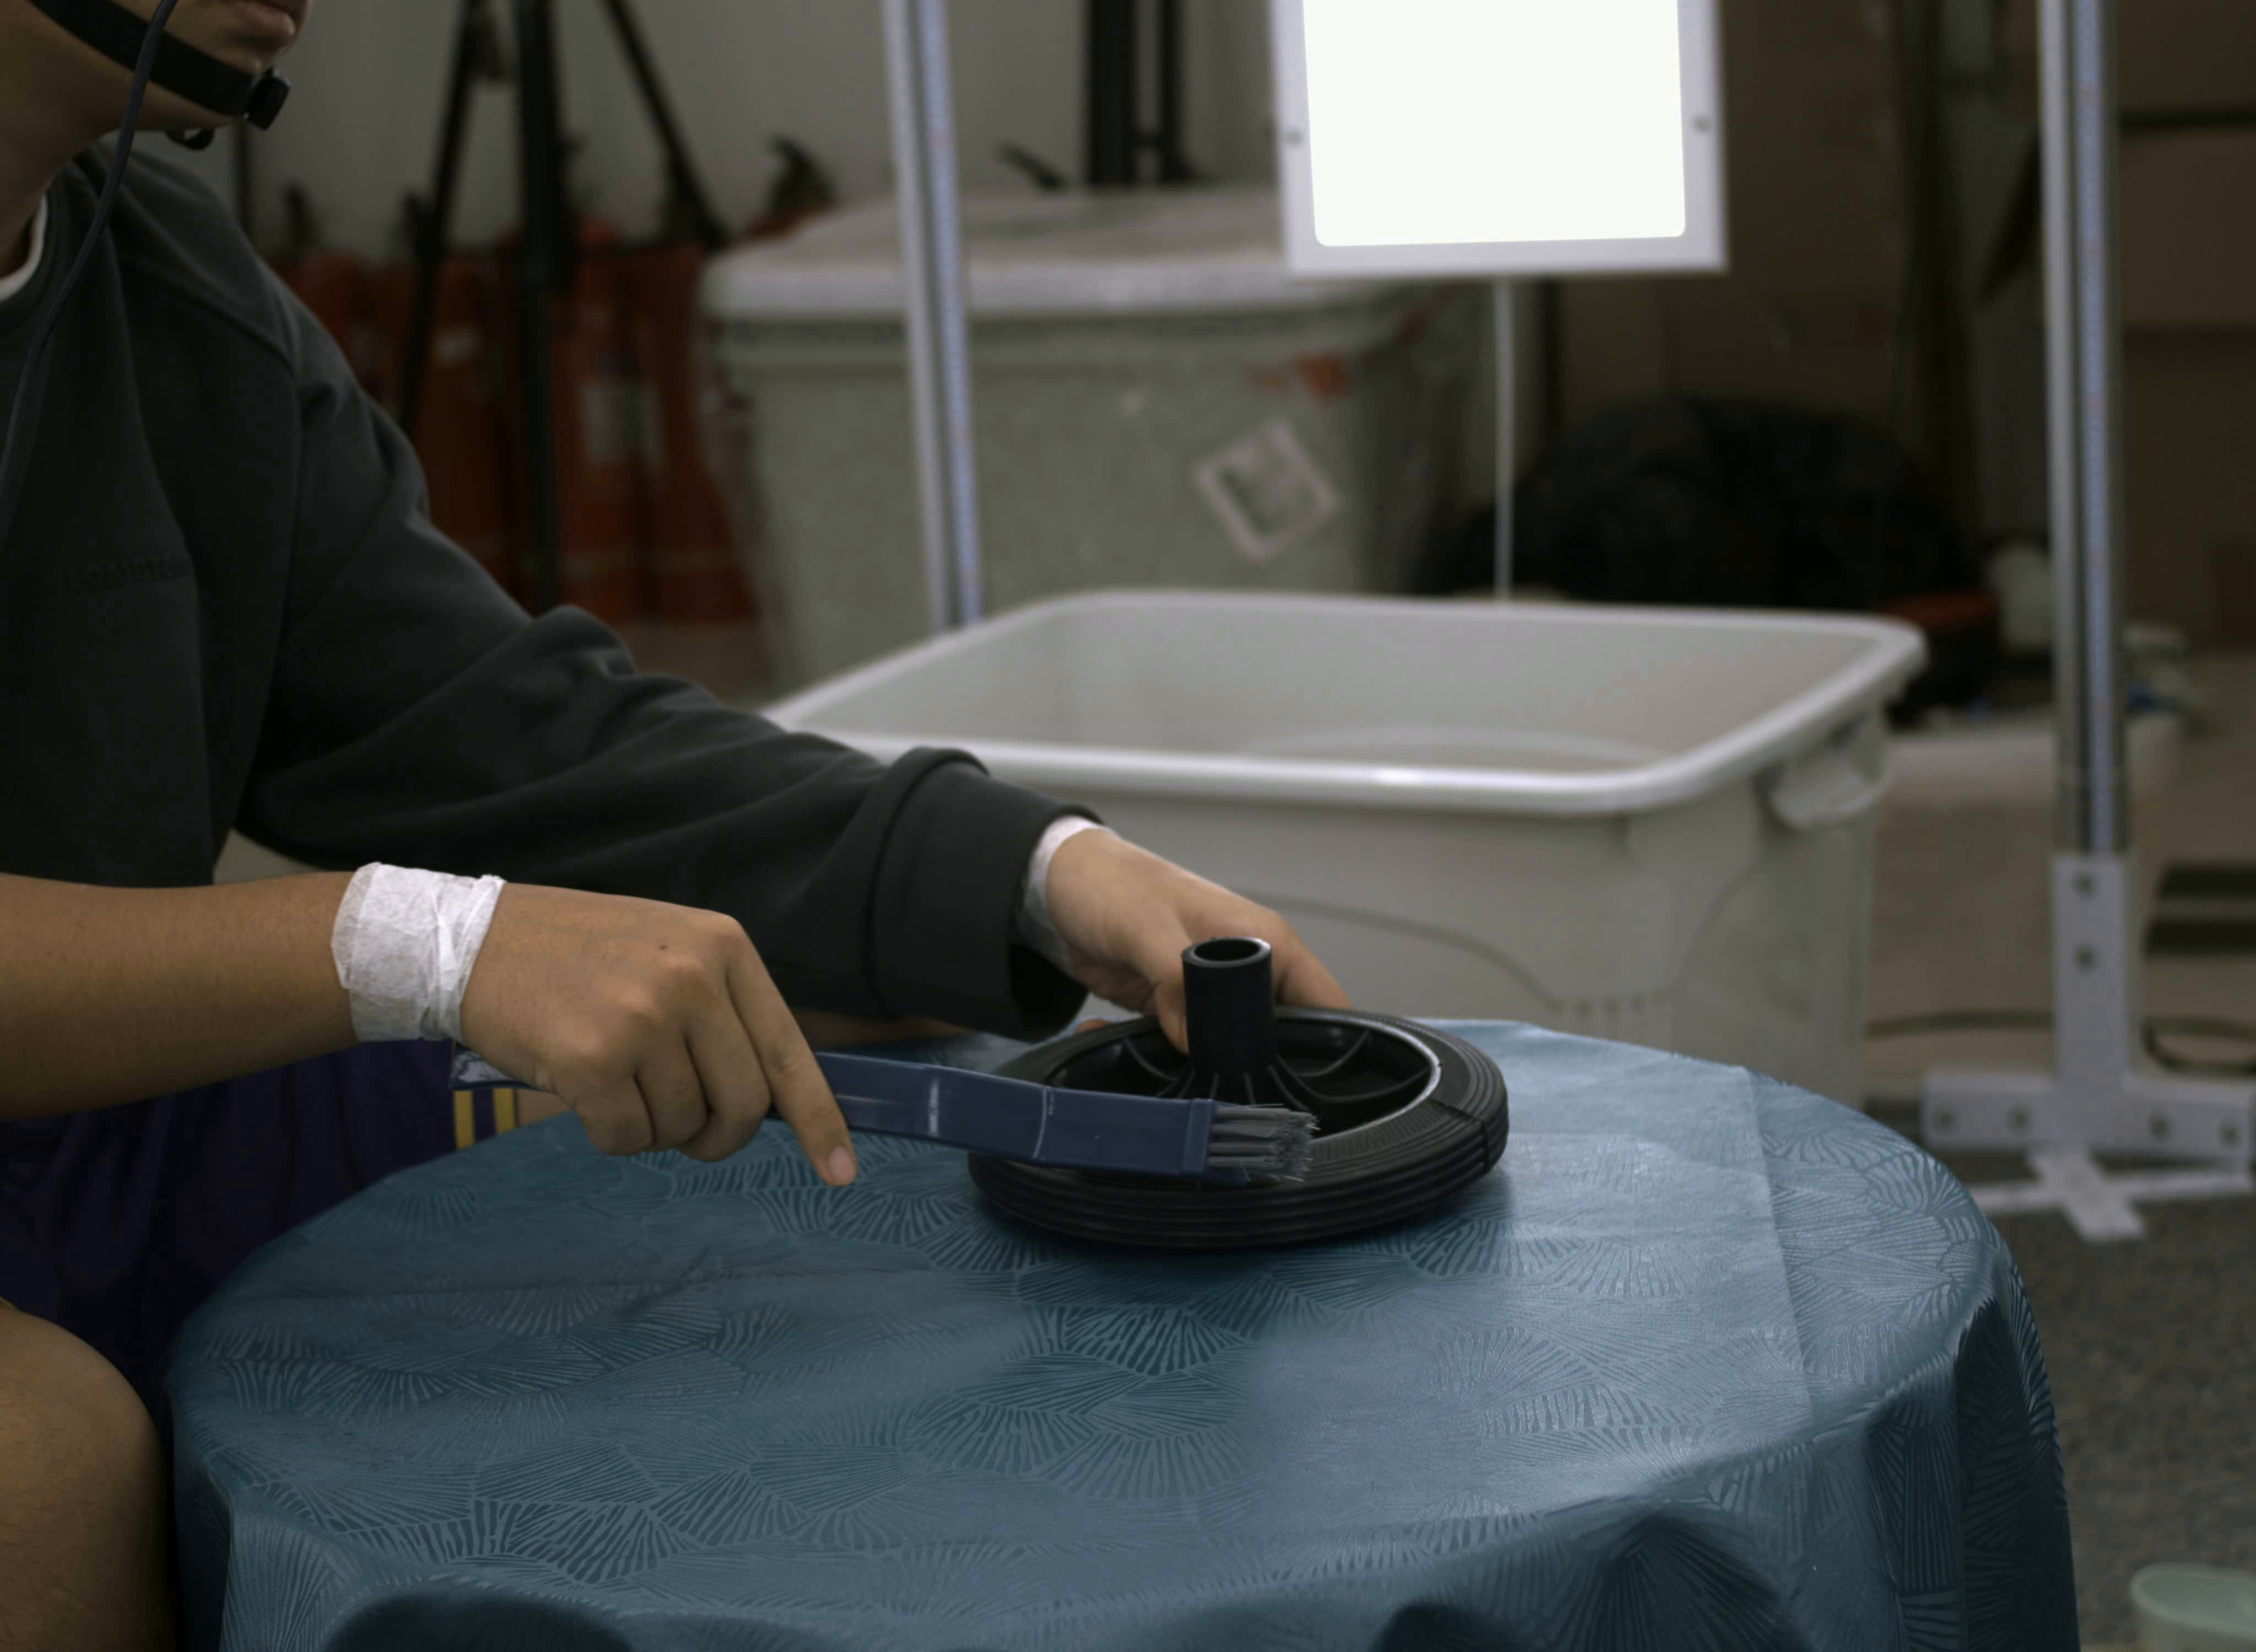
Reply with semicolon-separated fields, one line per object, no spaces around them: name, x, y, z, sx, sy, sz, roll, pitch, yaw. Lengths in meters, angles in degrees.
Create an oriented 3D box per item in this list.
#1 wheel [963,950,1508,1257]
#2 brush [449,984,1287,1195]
wheel;0.036;0.085;1.892;0.186;0.079;0.190;-13;20;-24
brush;-0.086;0.086;1.787;0.272;0.033;0.096;9;-7;0
